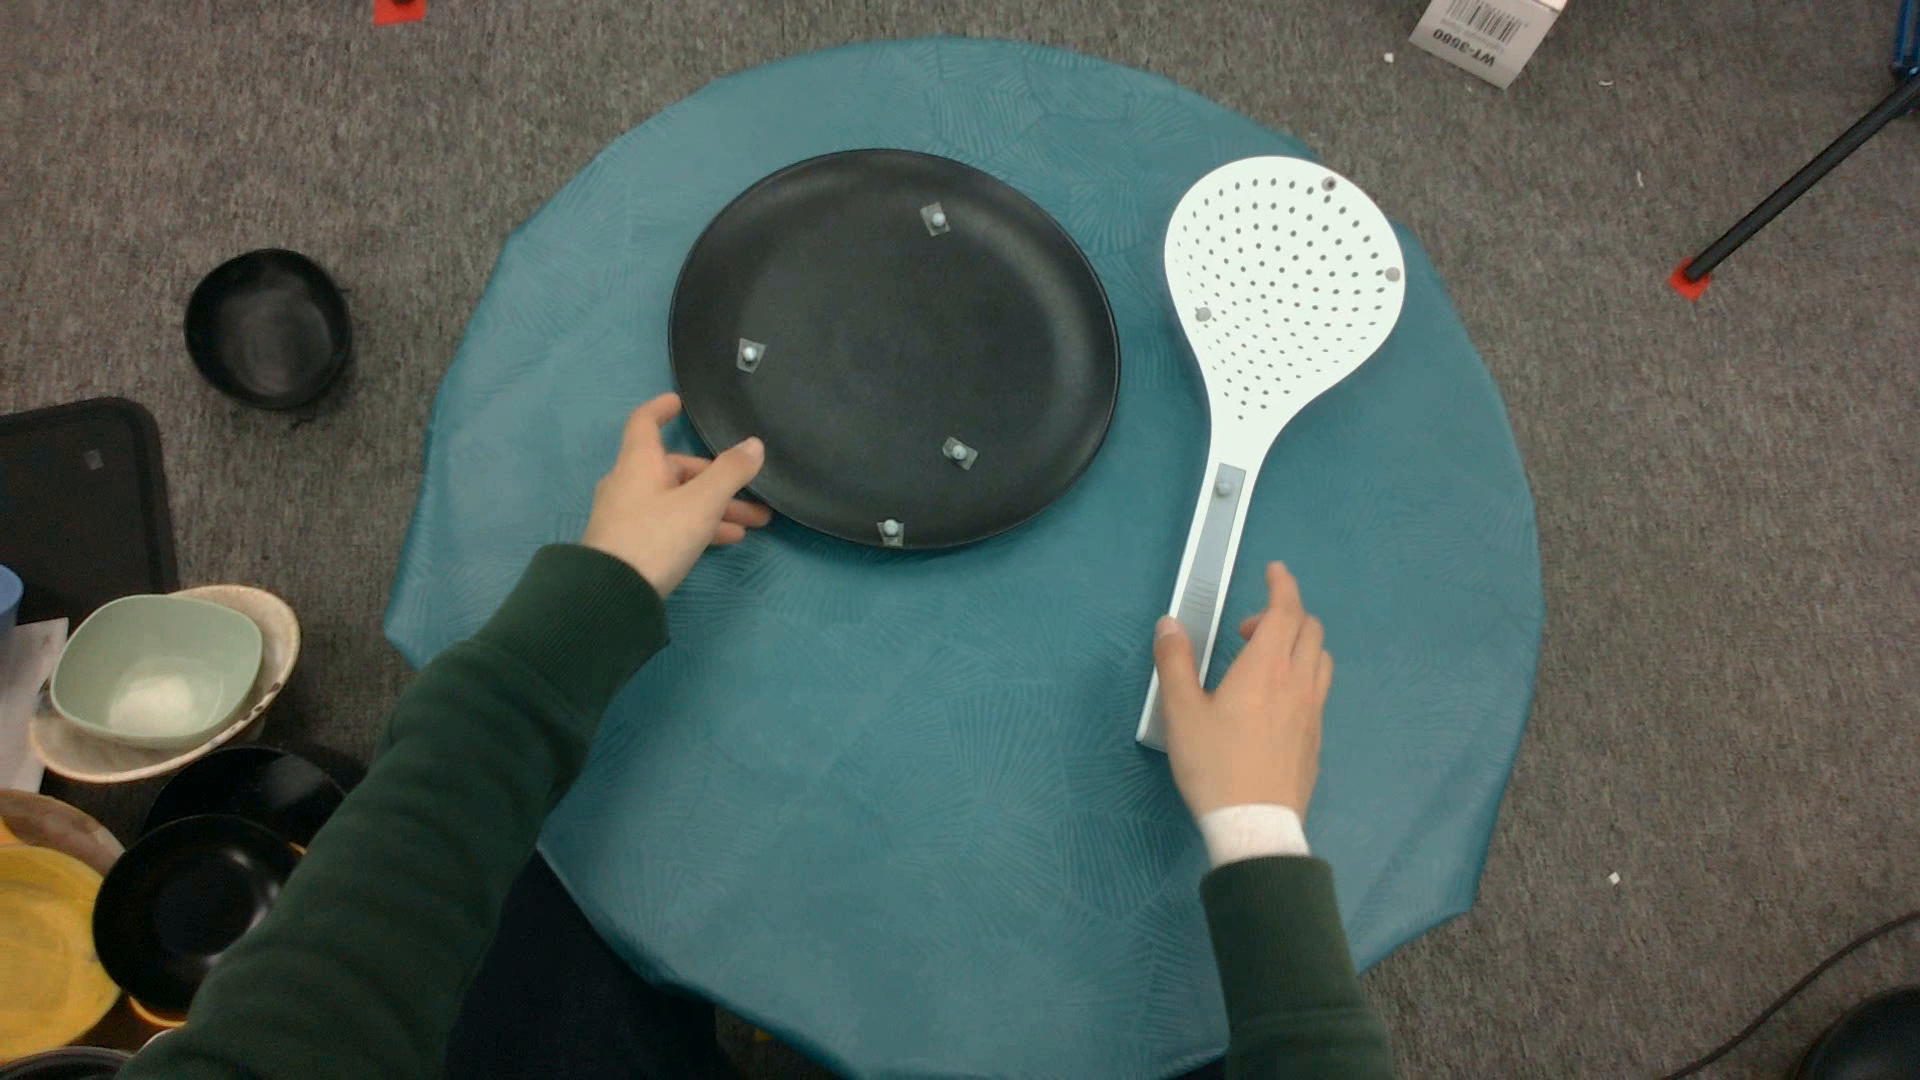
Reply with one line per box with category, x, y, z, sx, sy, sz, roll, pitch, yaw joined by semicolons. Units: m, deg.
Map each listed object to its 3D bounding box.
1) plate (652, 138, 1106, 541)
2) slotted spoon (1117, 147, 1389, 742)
plate;-0.041;-0.110;0.742;0.244;0.023;0.245;4;68;-9
slotted spoon;0.143;-0.060;0.744;0.136;0.045;0.351;18;68;-1
